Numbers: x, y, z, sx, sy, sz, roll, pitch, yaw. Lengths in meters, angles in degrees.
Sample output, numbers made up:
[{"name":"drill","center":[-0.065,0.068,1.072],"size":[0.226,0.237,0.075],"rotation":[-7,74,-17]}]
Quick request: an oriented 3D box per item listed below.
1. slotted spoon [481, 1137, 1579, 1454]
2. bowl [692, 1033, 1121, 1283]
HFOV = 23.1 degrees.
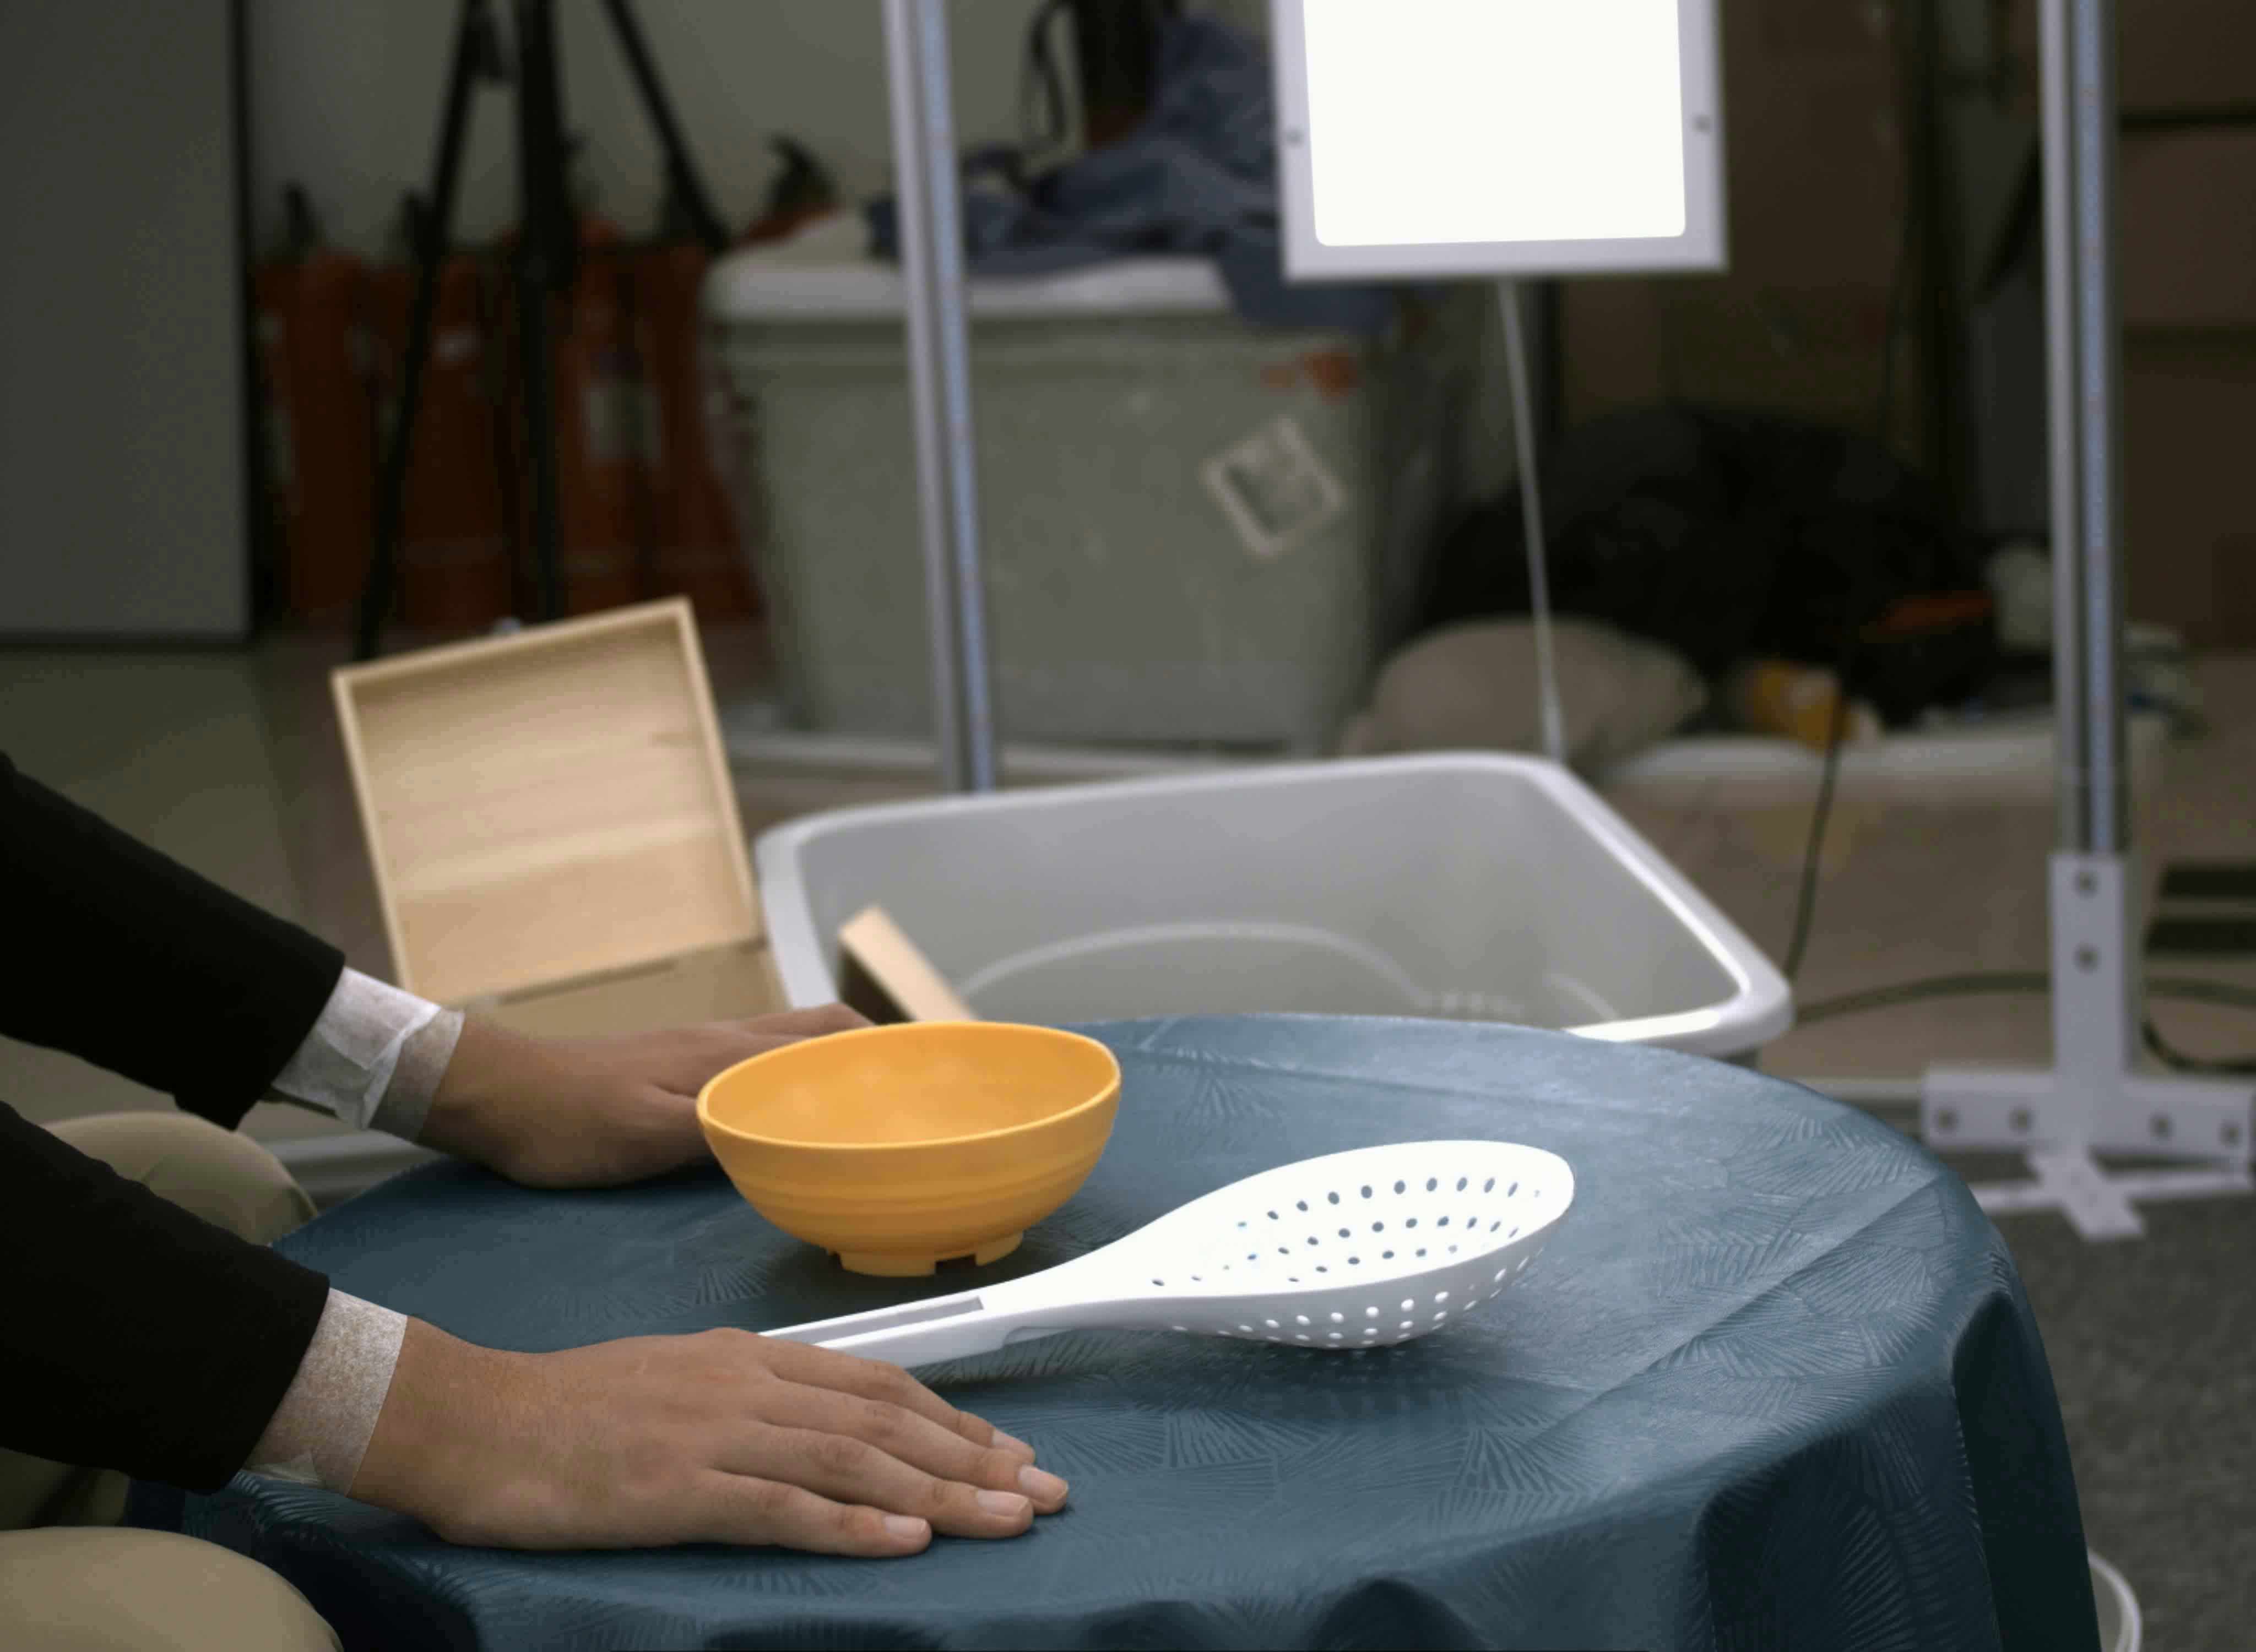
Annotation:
[{"name":"slotted spoon","center":[-0.029,0.150,1.718],"size":[0.347,0.046,0.136],"rotation":[-7,13,-5]},{"name":"bowl","center":[-0.073,0.116,1.853],"size":[0.145,0.060,0.145],"rotation":[-3,13,-1]}]
